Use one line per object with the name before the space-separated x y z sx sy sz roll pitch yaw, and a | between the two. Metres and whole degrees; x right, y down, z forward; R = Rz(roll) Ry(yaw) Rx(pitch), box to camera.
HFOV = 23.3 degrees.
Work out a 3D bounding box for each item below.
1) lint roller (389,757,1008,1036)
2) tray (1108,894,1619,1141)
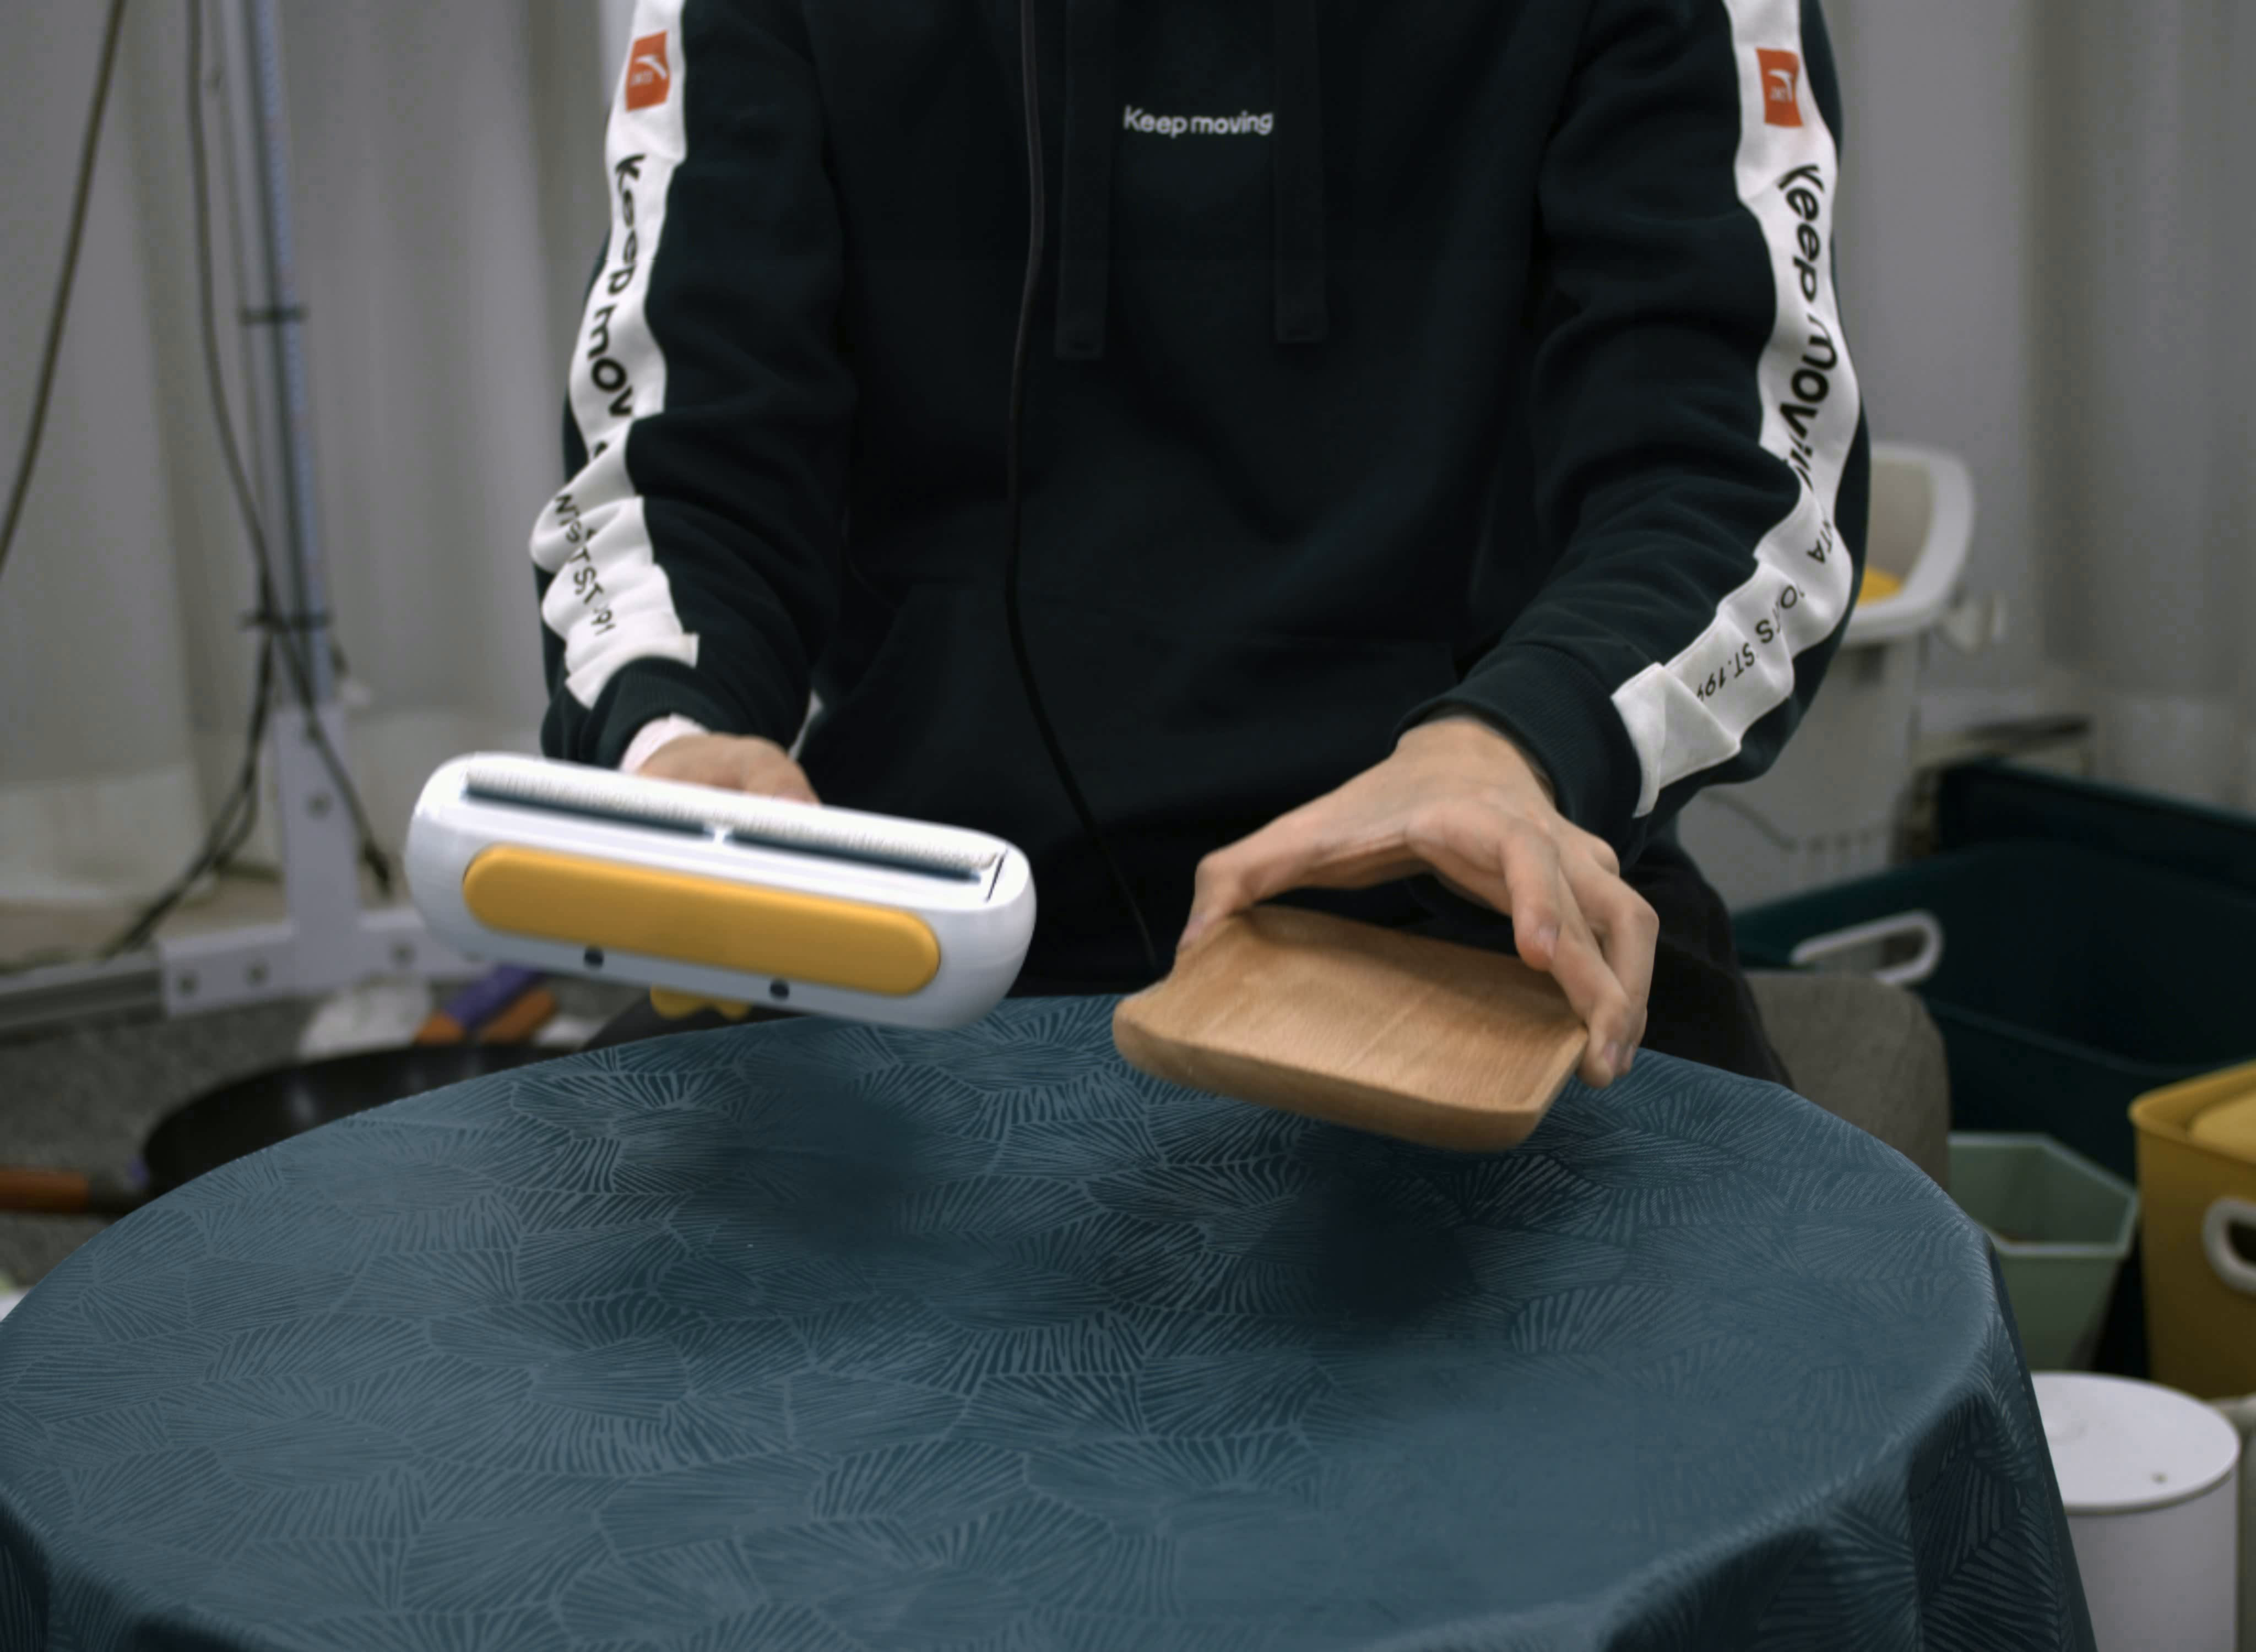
lint roller | -0.122 0.027 1.727 0.193 0.074 0.192 9 1 10
tray | 0.074 0.056 1.661 0.130 0.023 0.251 16 9 10
